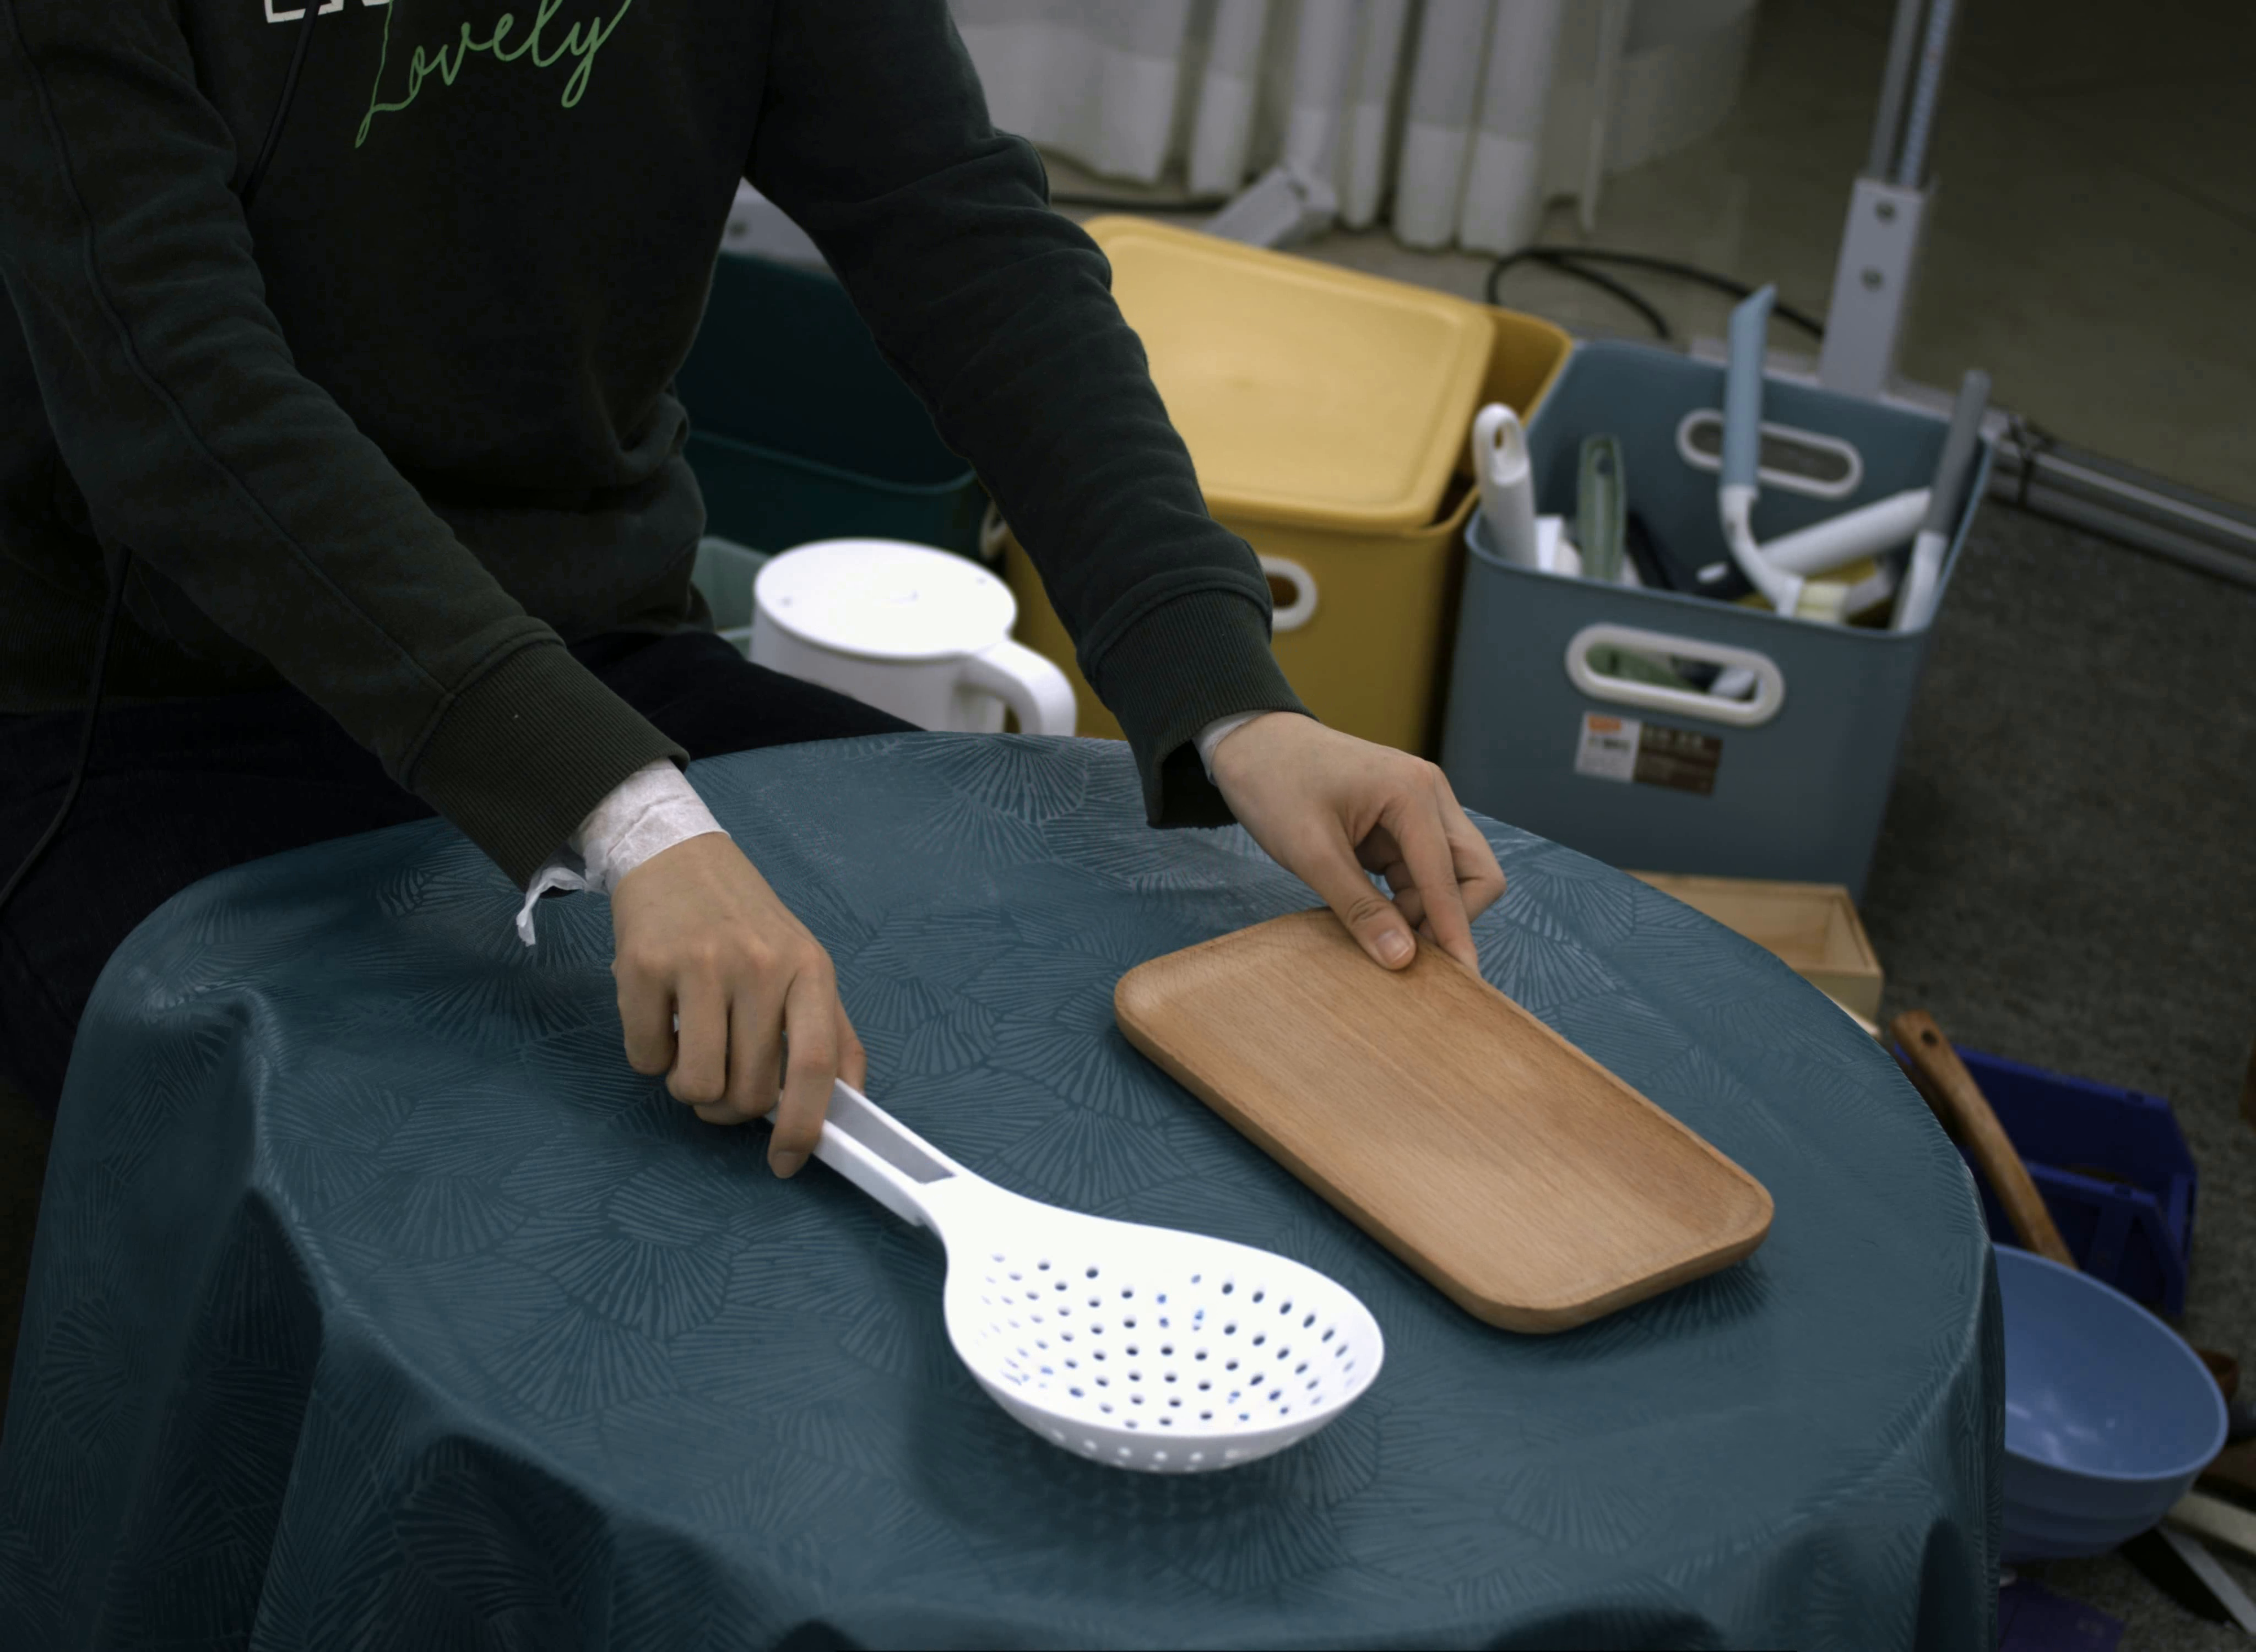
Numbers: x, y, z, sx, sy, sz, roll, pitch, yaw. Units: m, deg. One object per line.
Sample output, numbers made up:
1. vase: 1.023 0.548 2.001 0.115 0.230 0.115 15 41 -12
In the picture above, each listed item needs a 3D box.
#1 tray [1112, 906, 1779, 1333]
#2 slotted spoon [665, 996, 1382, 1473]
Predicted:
1. tray: 0.106 0.099 1.845 0.130 0.023 0.253 -15 33 -31
2. slotted spoon: -0.052 0.126 1.732 0.135 0.045 0.353 -10 30 -34
